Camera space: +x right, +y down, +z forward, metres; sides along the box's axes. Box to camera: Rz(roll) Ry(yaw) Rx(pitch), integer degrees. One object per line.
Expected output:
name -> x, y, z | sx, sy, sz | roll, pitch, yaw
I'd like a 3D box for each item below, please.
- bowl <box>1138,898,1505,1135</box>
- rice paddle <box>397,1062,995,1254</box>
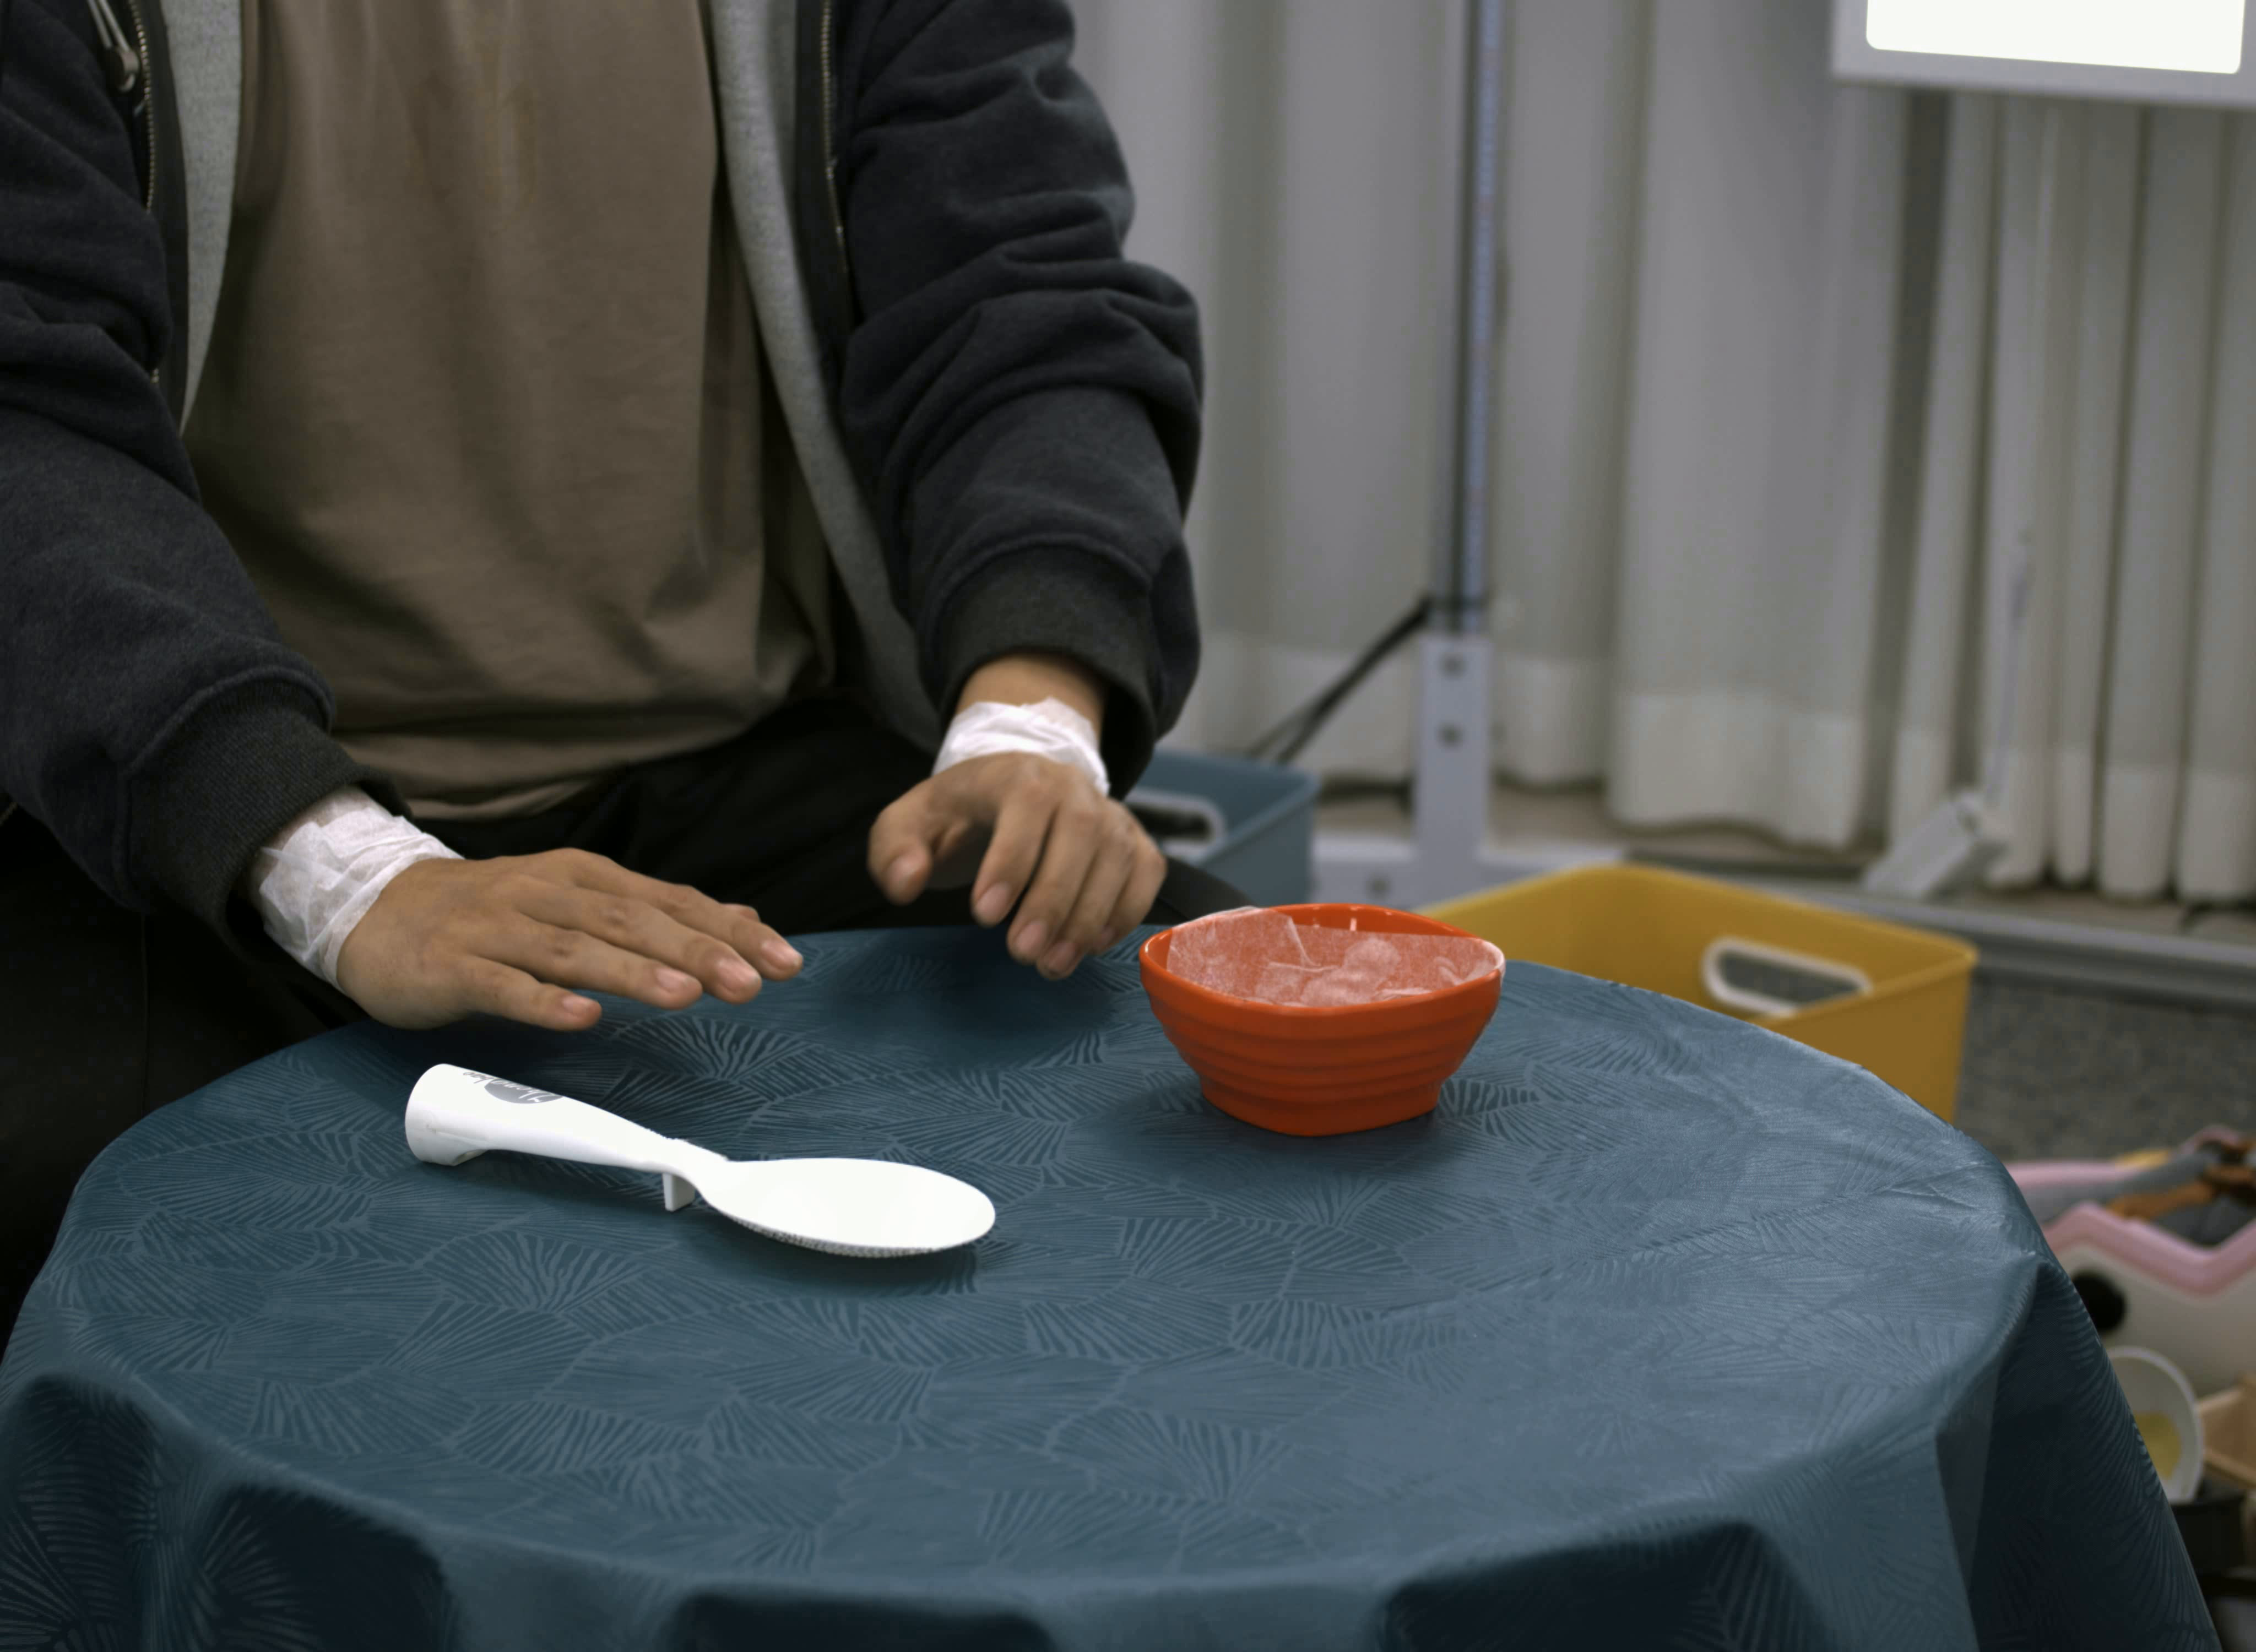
bowl -> 0.061, 0.063, 1.701 | 0.118, 0.052, 0.118 | 1, 17, 0
rice paddle -> -0.131, 0.102, 1.598 | 0.203, 0.029, 0.069 | 9, 19, 28
